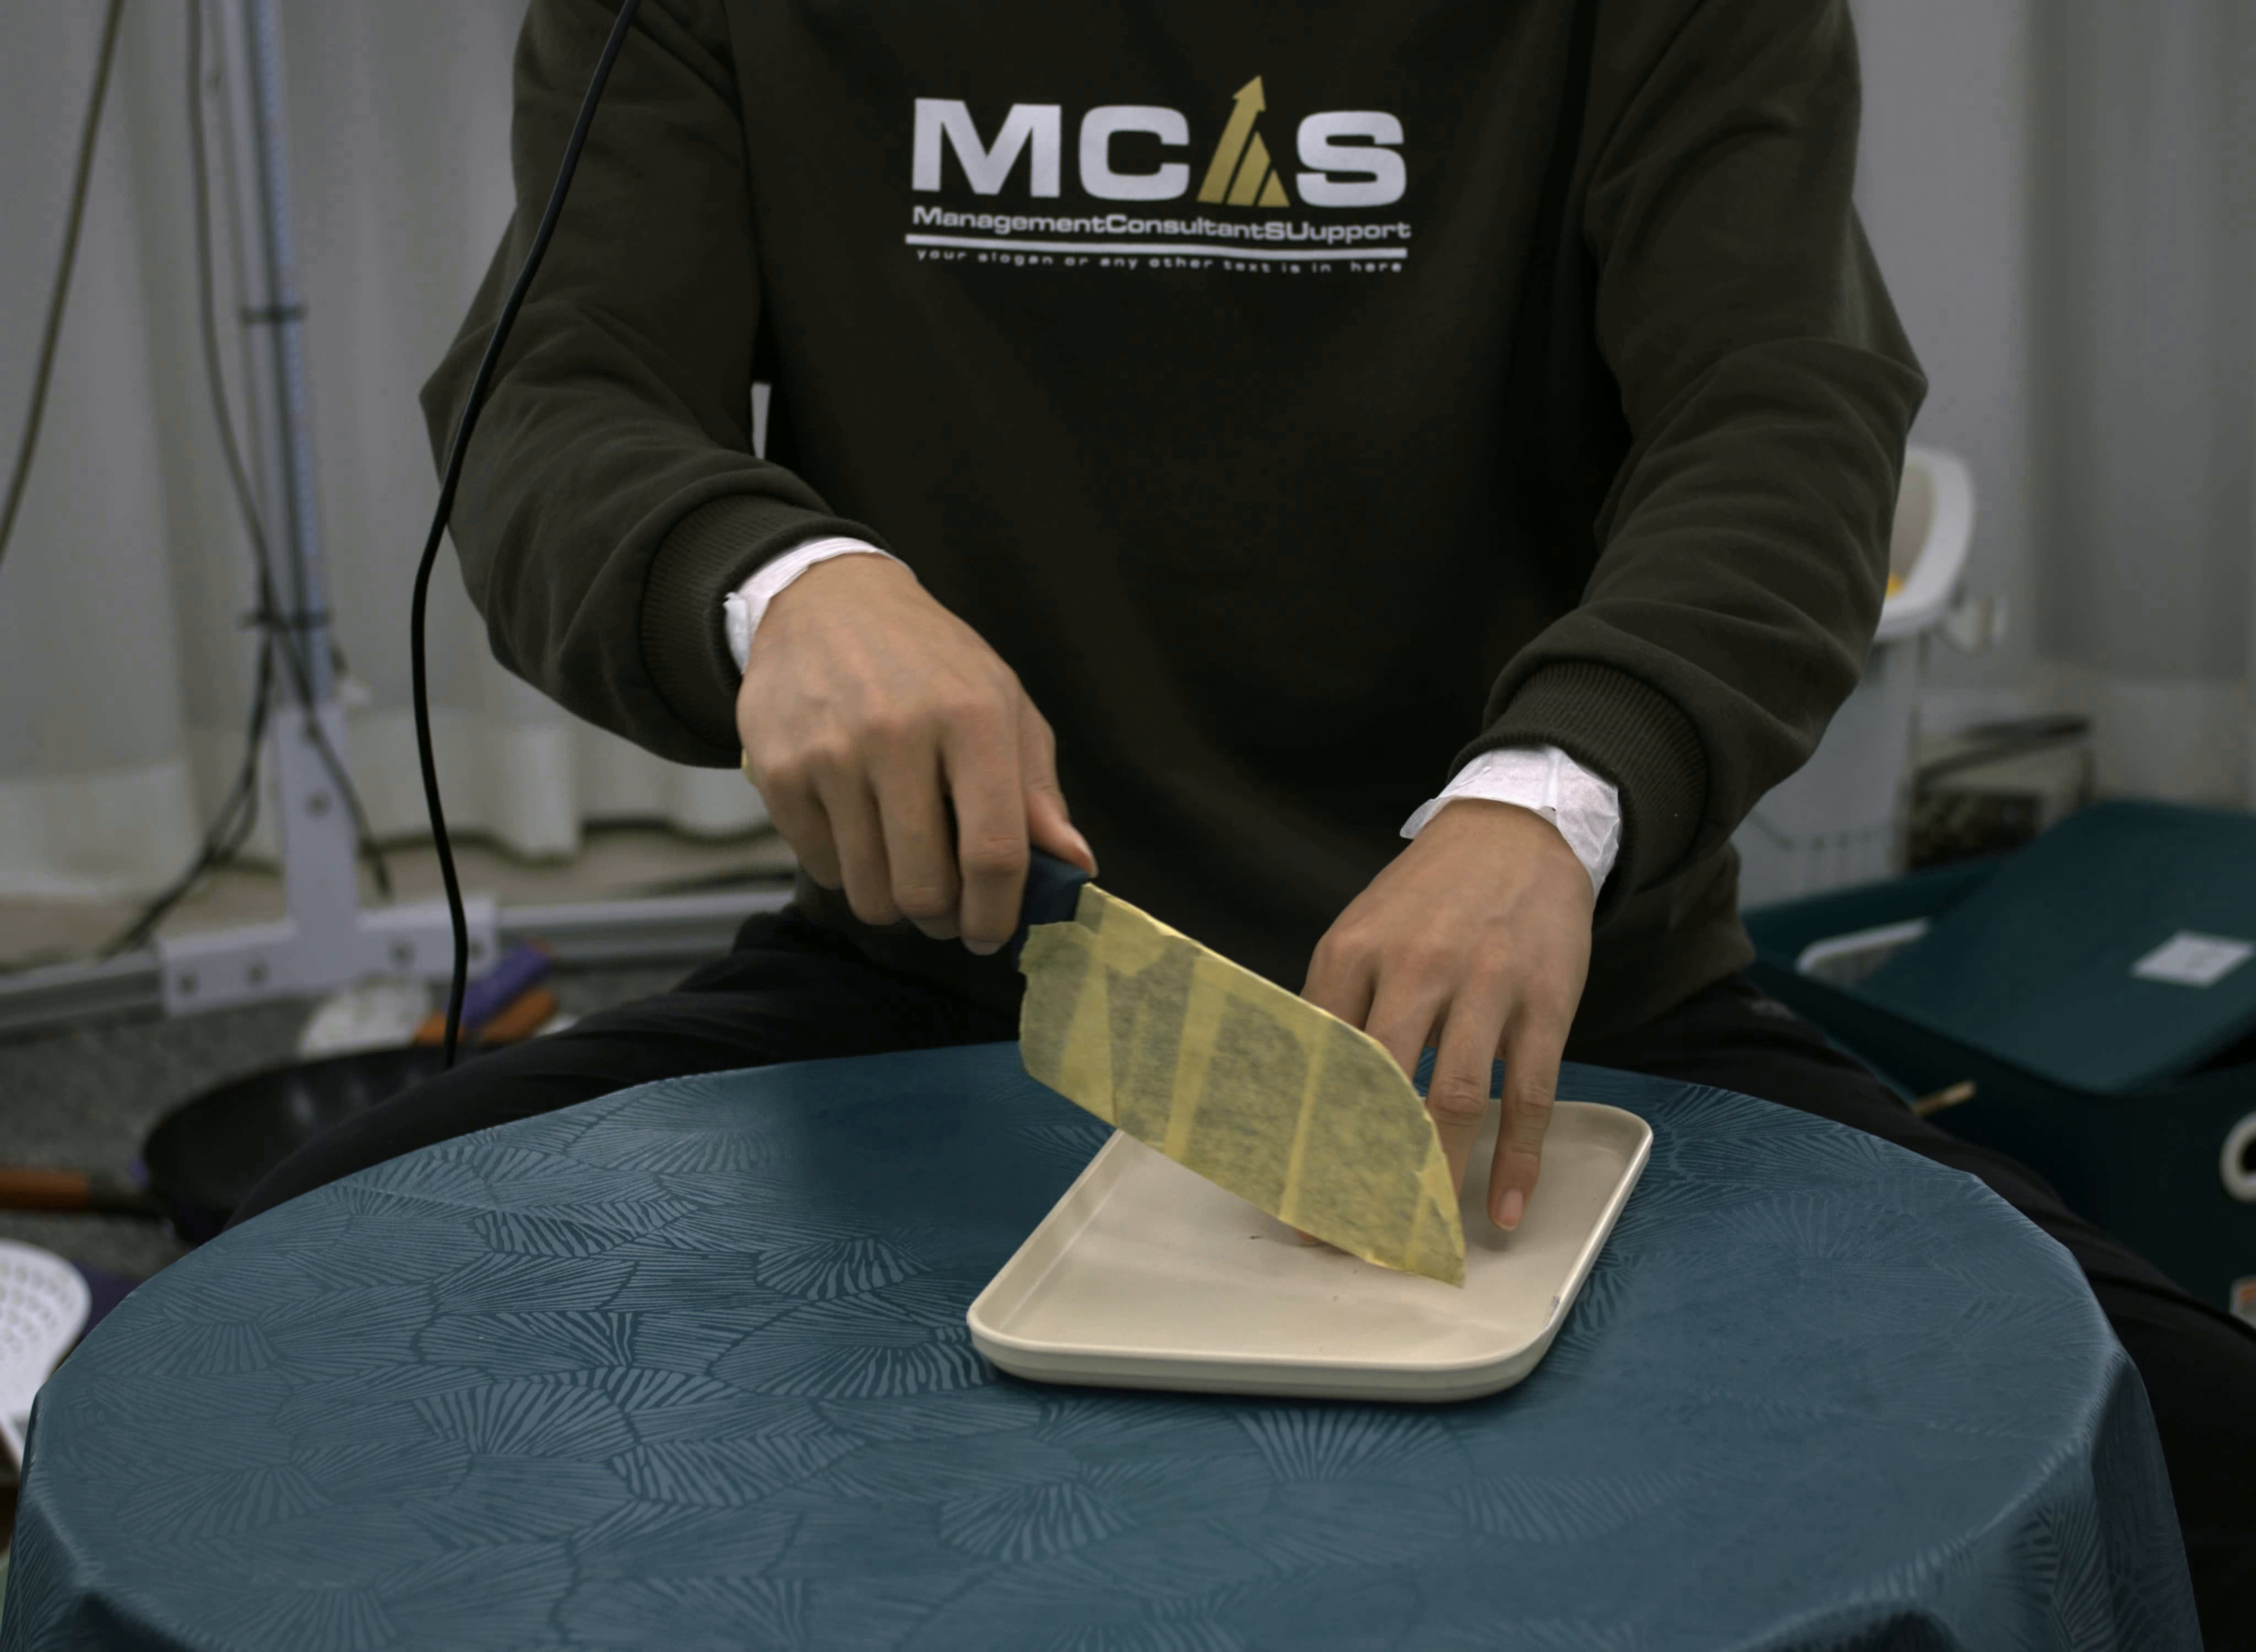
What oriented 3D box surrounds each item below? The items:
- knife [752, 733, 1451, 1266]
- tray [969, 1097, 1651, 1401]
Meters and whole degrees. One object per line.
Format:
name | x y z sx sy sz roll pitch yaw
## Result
knife | -0.011 0.050 1.645 0.292 0.080 0.027 32 31 33
tray | 0.059 0.124 1.635 0.171 0.017 0.240 1 15 15
